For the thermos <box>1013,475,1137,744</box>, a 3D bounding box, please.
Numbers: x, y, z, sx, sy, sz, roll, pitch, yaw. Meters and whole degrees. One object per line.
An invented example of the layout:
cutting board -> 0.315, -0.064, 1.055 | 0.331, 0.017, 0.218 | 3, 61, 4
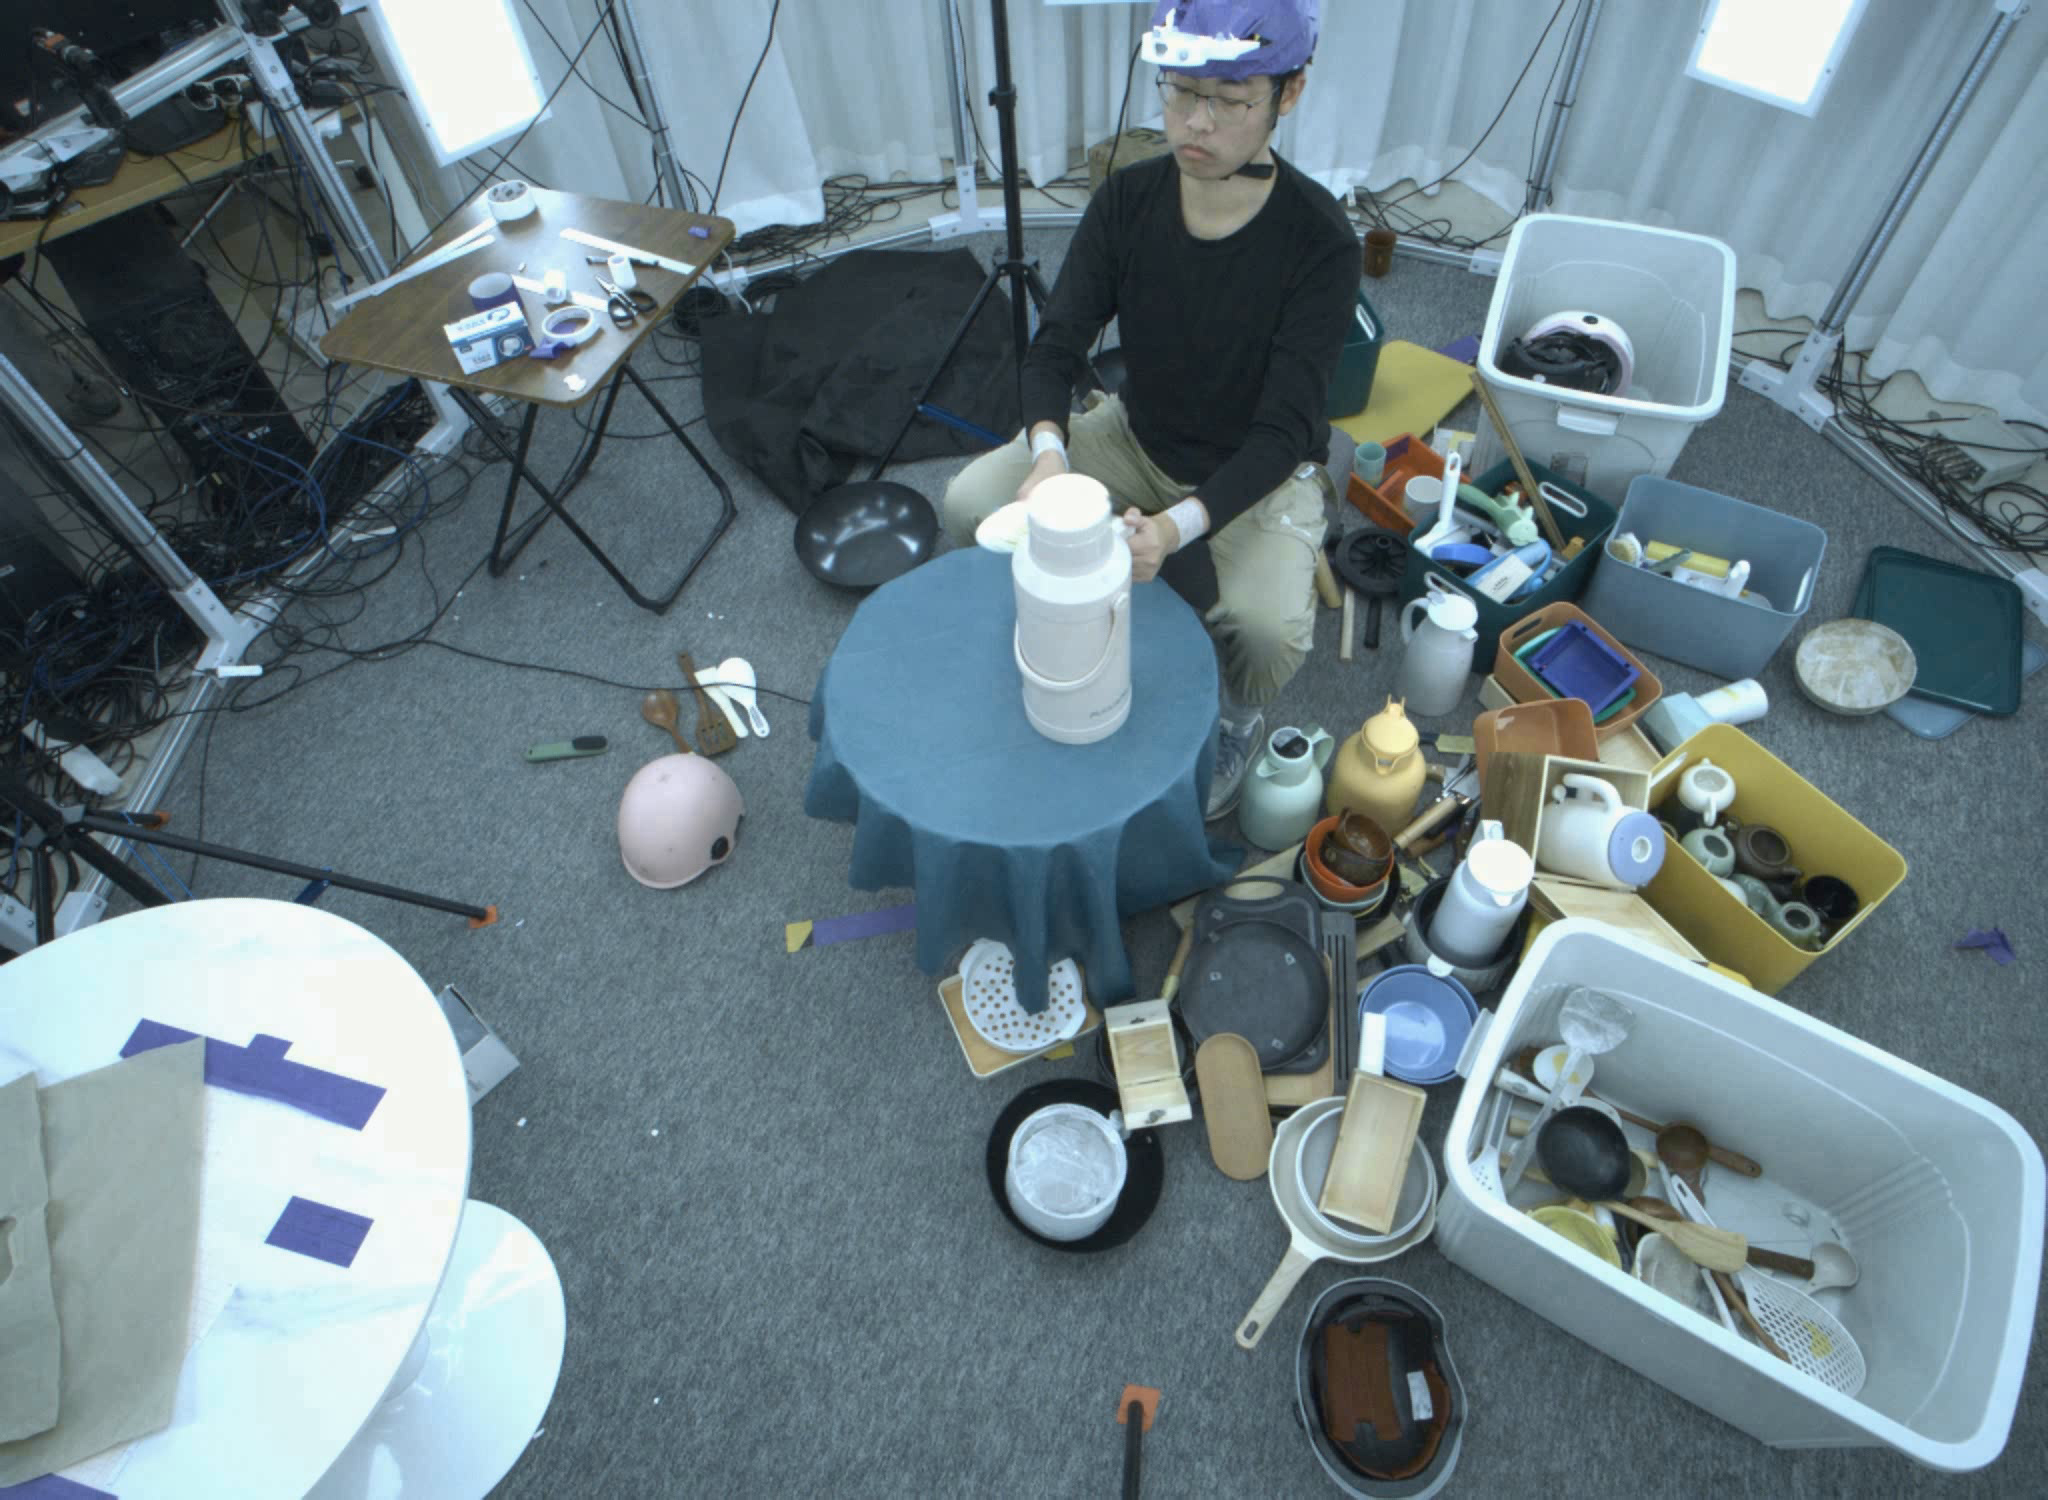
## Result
thermos -> 0.080, -0.196, 1.679 | 0.172, 0.411, 0.208 | 33, 63, 26

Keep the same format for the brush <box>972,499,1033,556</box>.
brush -> 0.040, -0.344, 1.771 | 0.084, 0.083, 0.329 | 41, 36, 10
